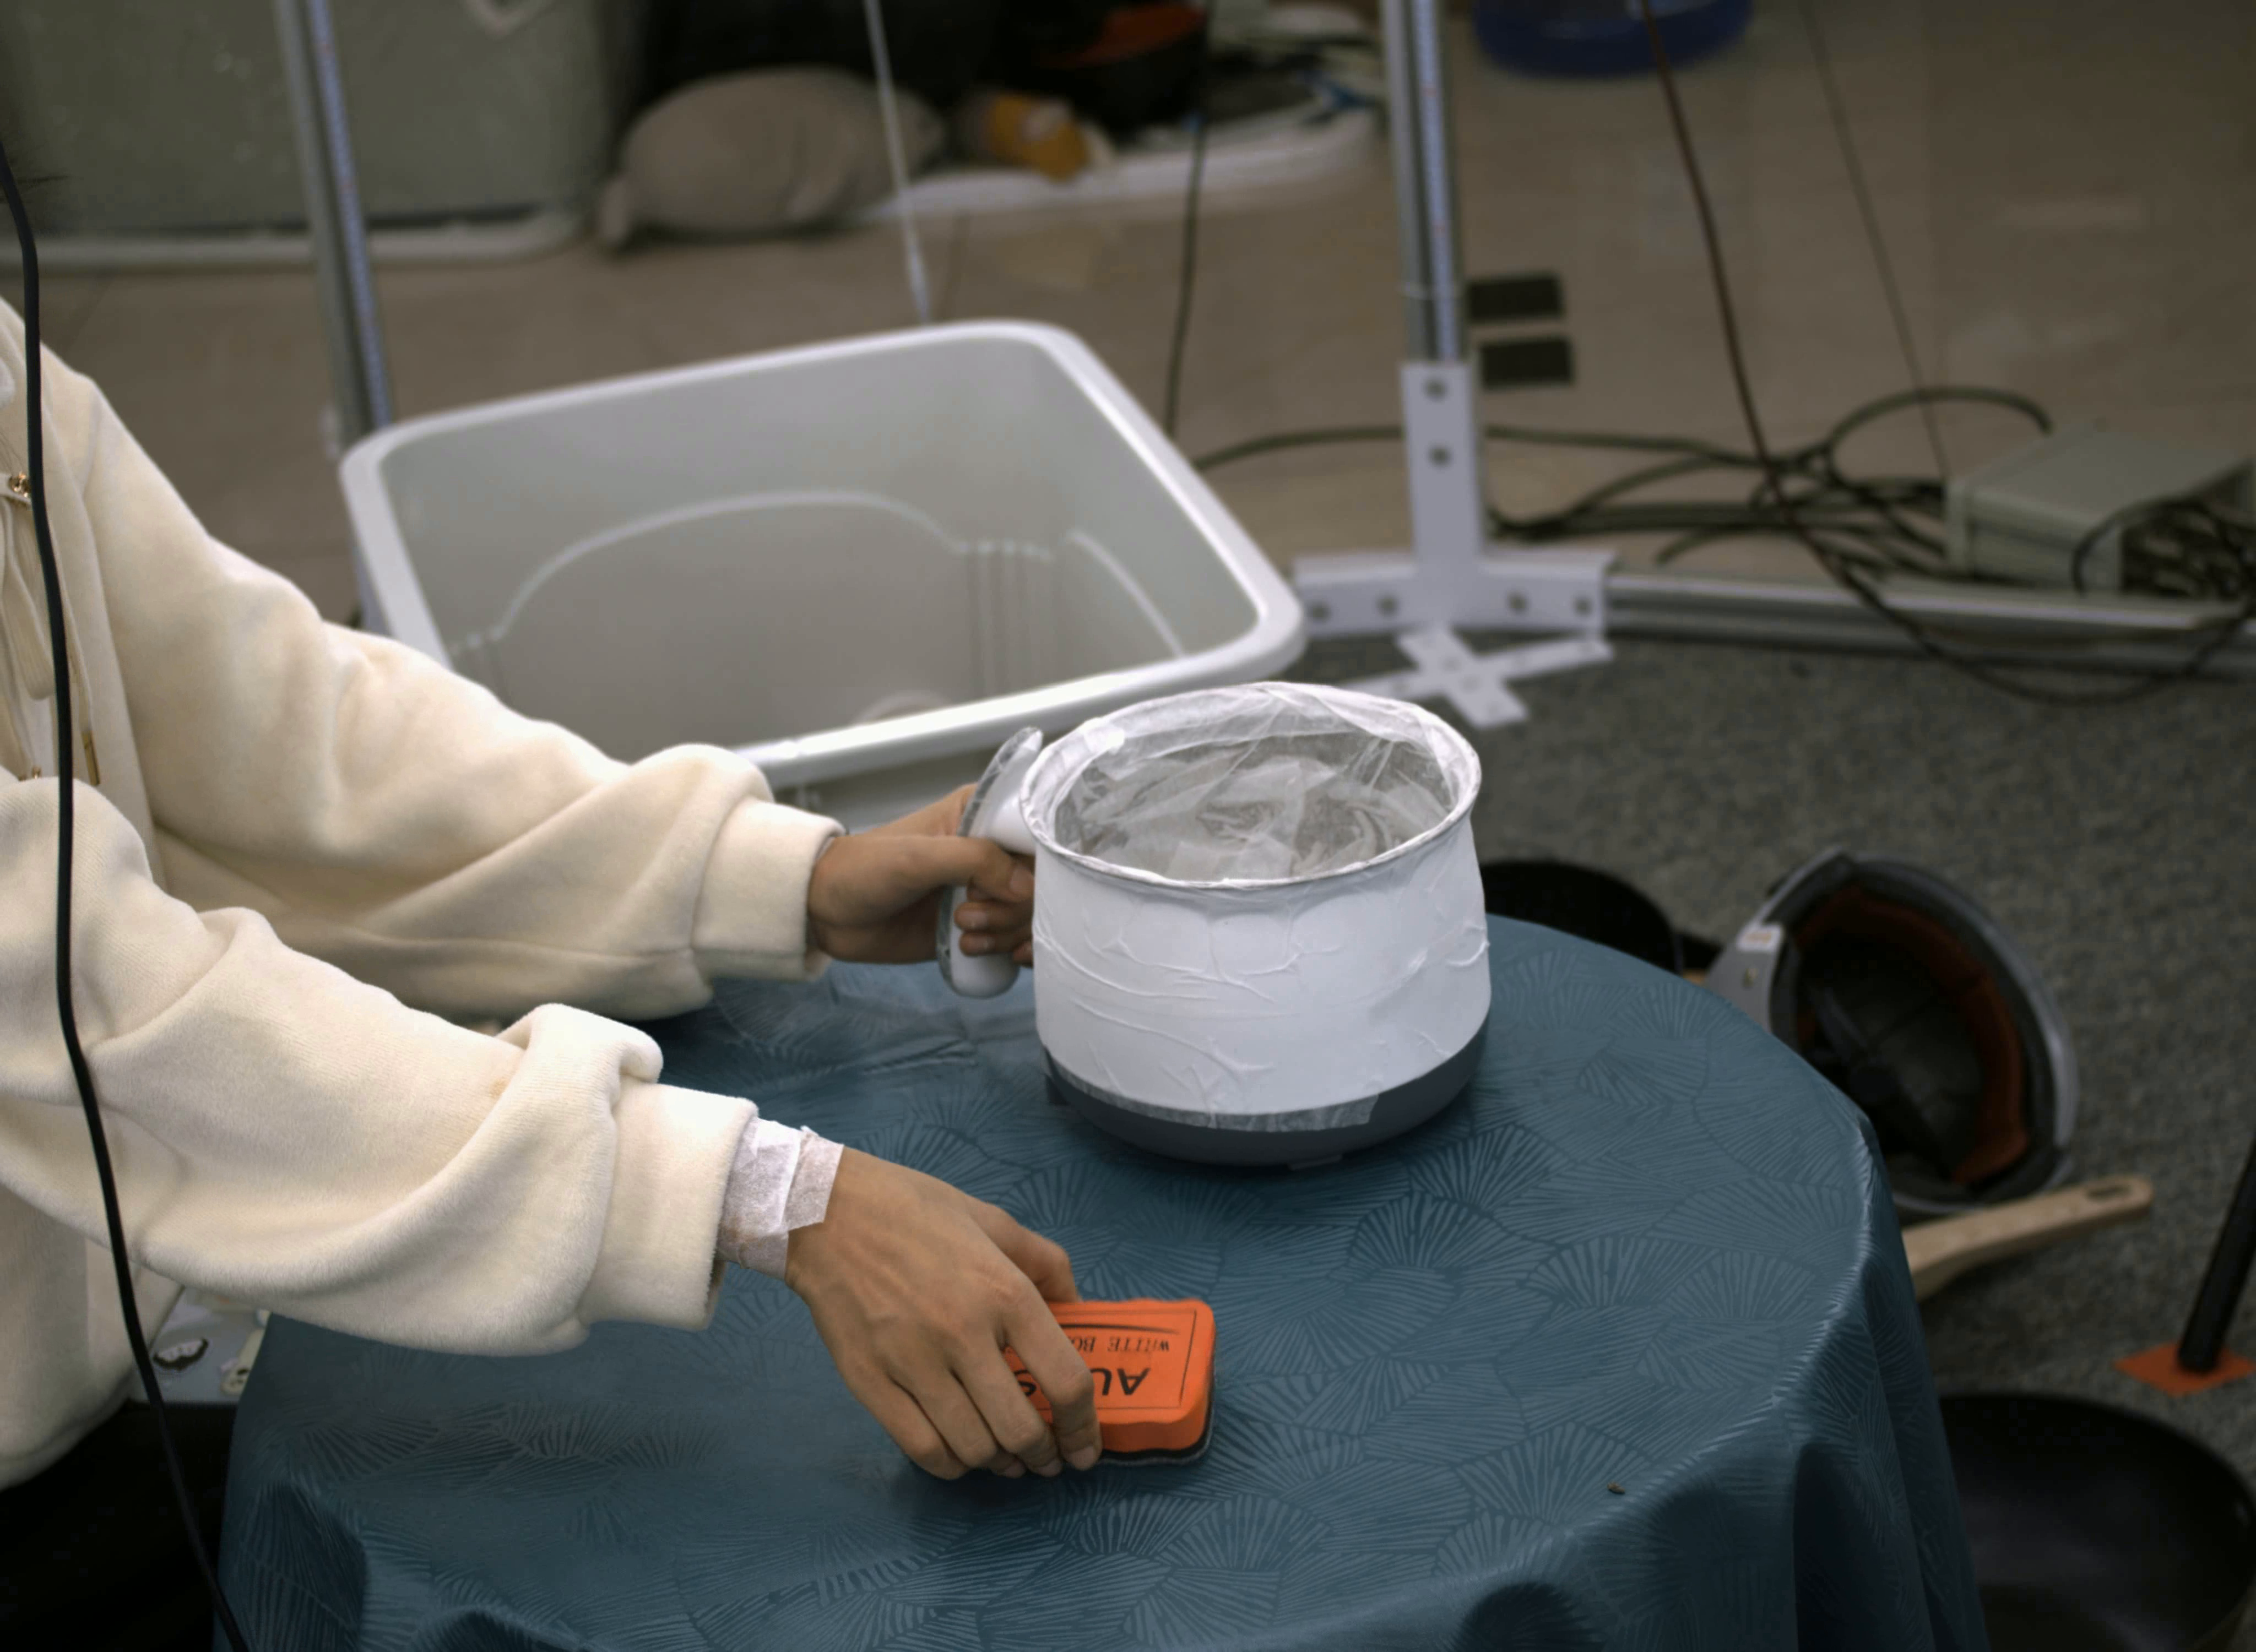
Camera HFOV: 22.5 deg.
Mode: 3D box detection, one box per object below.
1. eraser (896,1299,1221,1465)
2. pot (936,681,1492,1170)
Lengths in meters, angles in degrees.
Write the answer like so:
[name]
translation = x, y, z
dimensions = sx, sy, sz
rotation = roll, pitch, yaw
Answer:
[eraser]
translation = -0.024, 0.194, 1.982
dimensions = 0.108, 0.023, 0.058
rotation = -3, 41, 15
[pot]
translation = 0.027, 0.035, 2.191
dimensions = 0.232, 0.139, 0.176
rotation = 11, 31, 27
